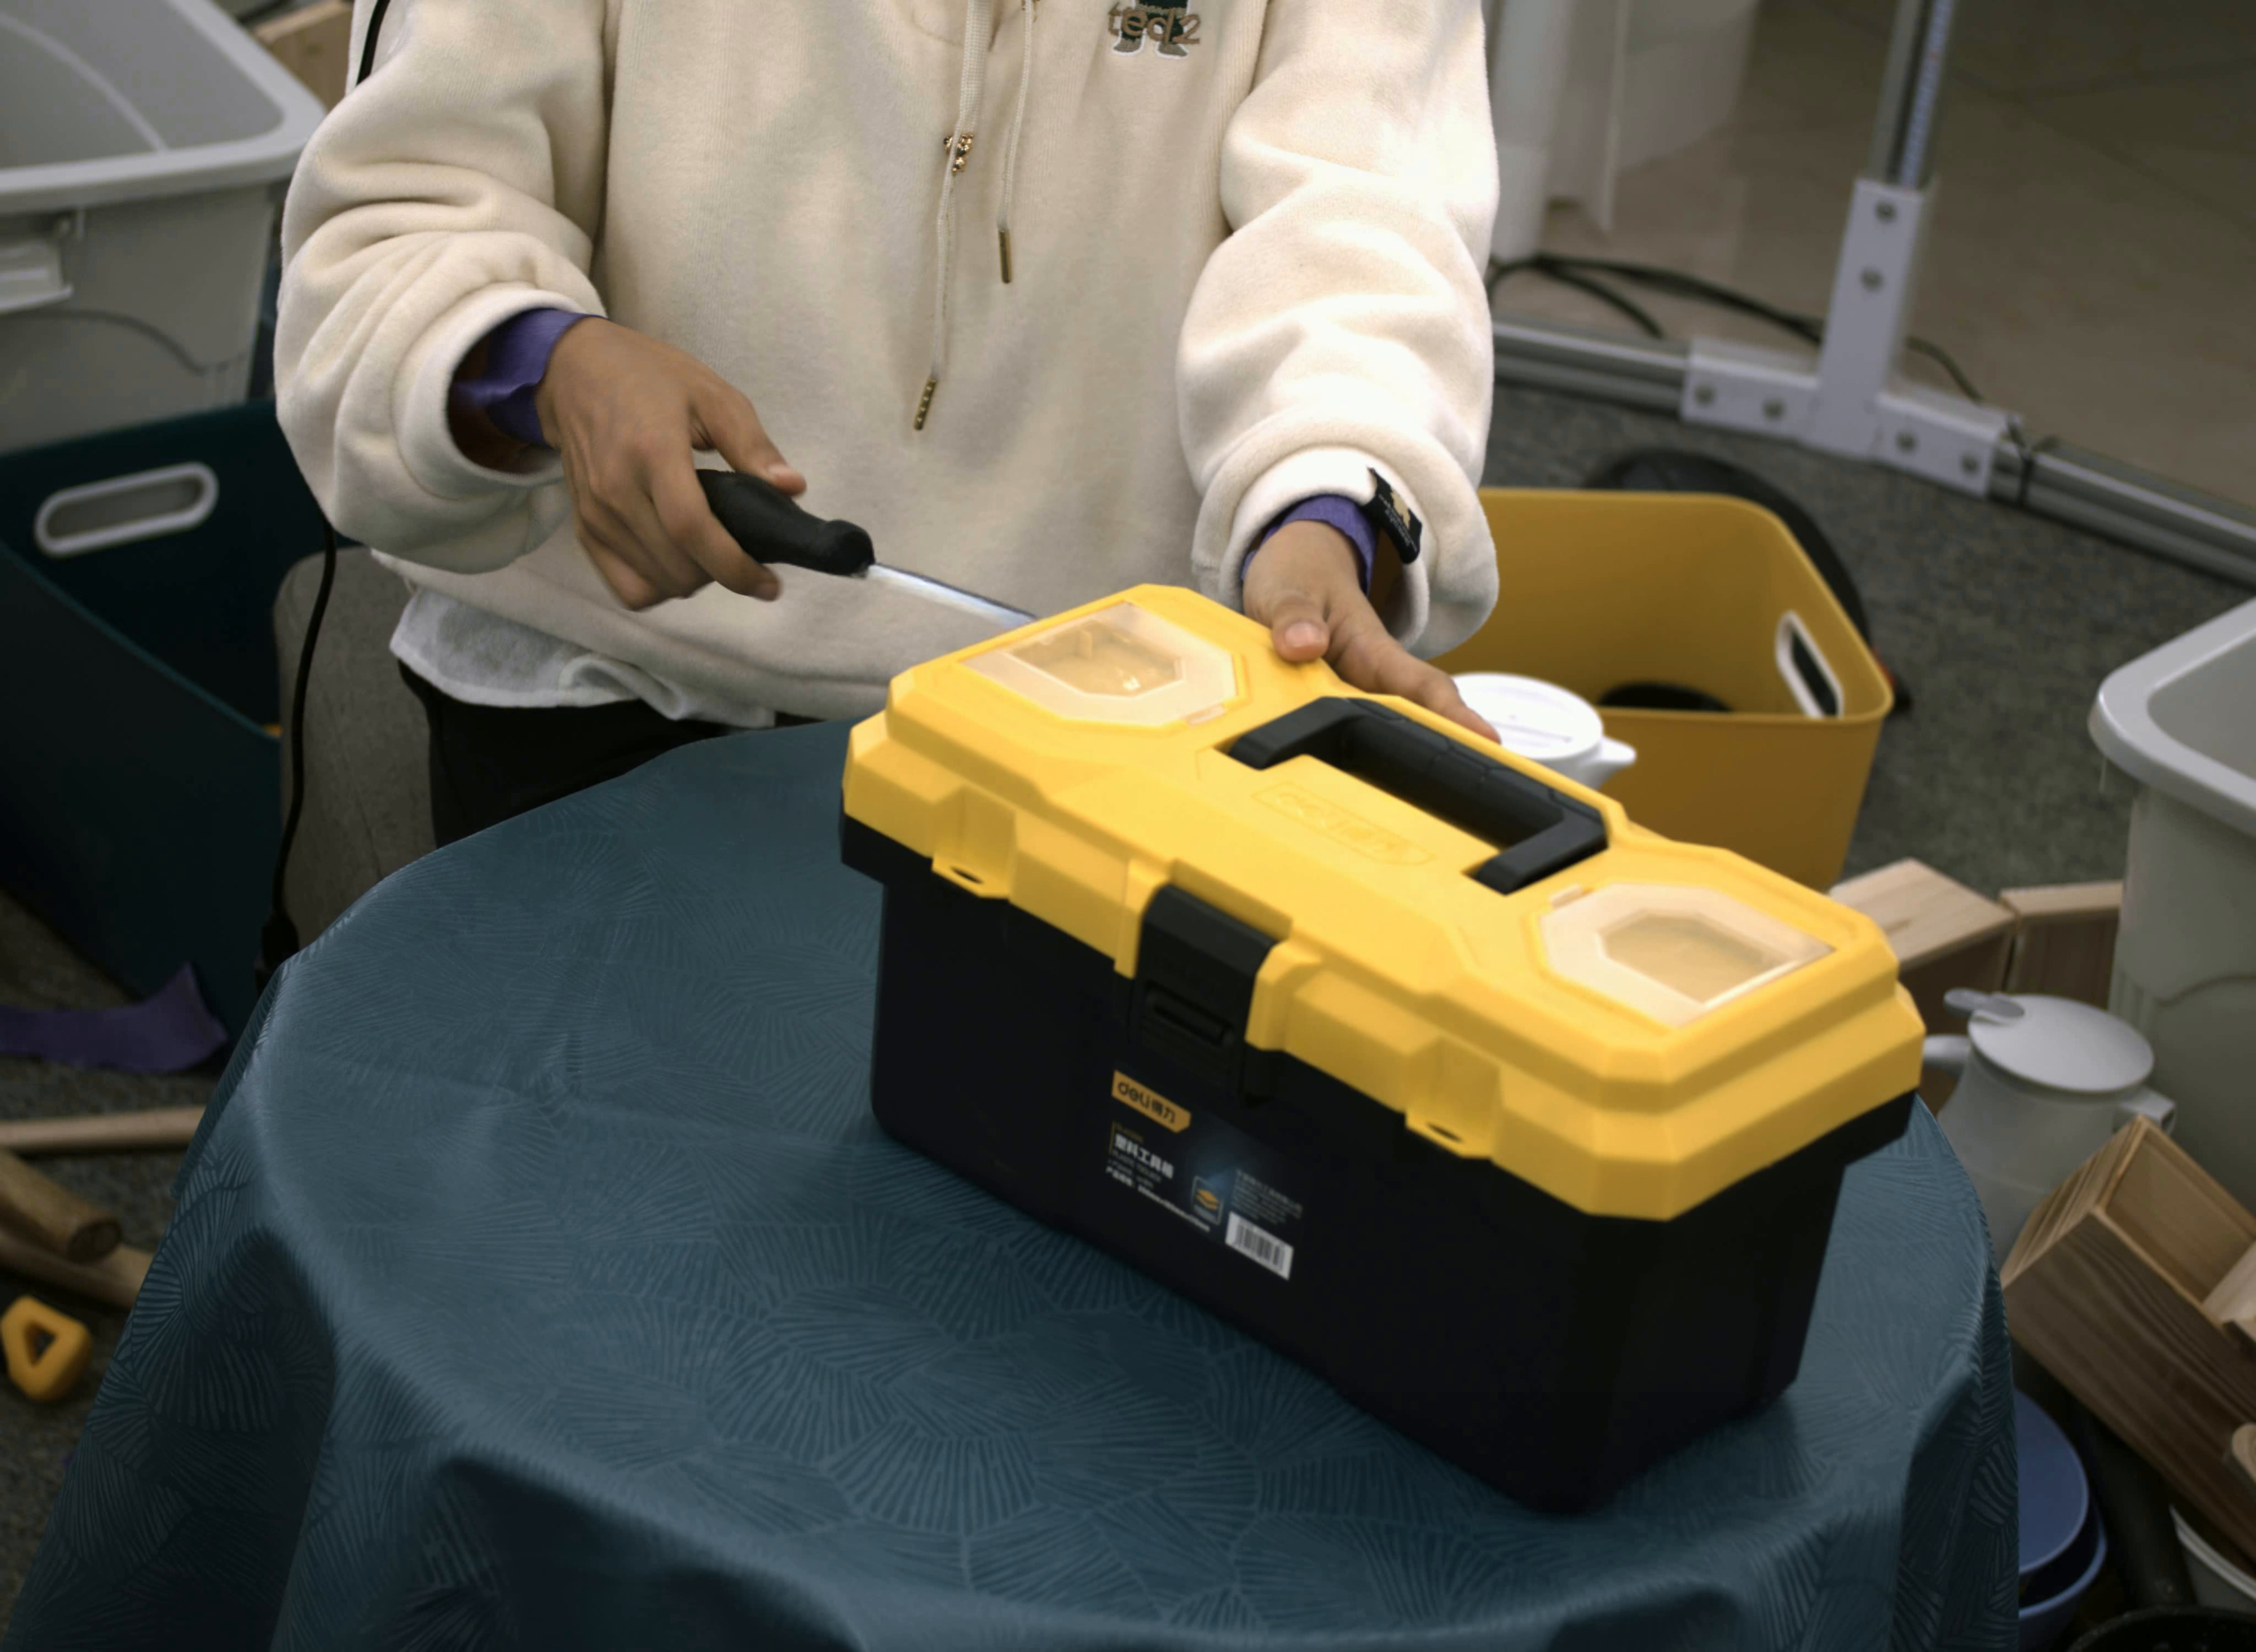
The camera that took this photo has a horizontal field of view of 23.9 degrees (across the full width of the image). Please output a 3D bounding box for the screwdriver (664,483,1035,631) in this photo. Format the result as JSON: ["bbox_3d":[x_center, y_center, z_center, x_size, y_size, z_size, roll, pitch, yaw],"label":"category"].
[{"bbox_3d":[-0.097,-0.090,1.883,0.031,0.031,0.199,-17,27,-39],"label":"screwdriver"}]

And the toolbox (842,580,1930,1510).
[{"bbox_3d":[0.072,0.066,1.740,0.354,0.172,0.180,28,33,35],"label":"toolbox"}]
